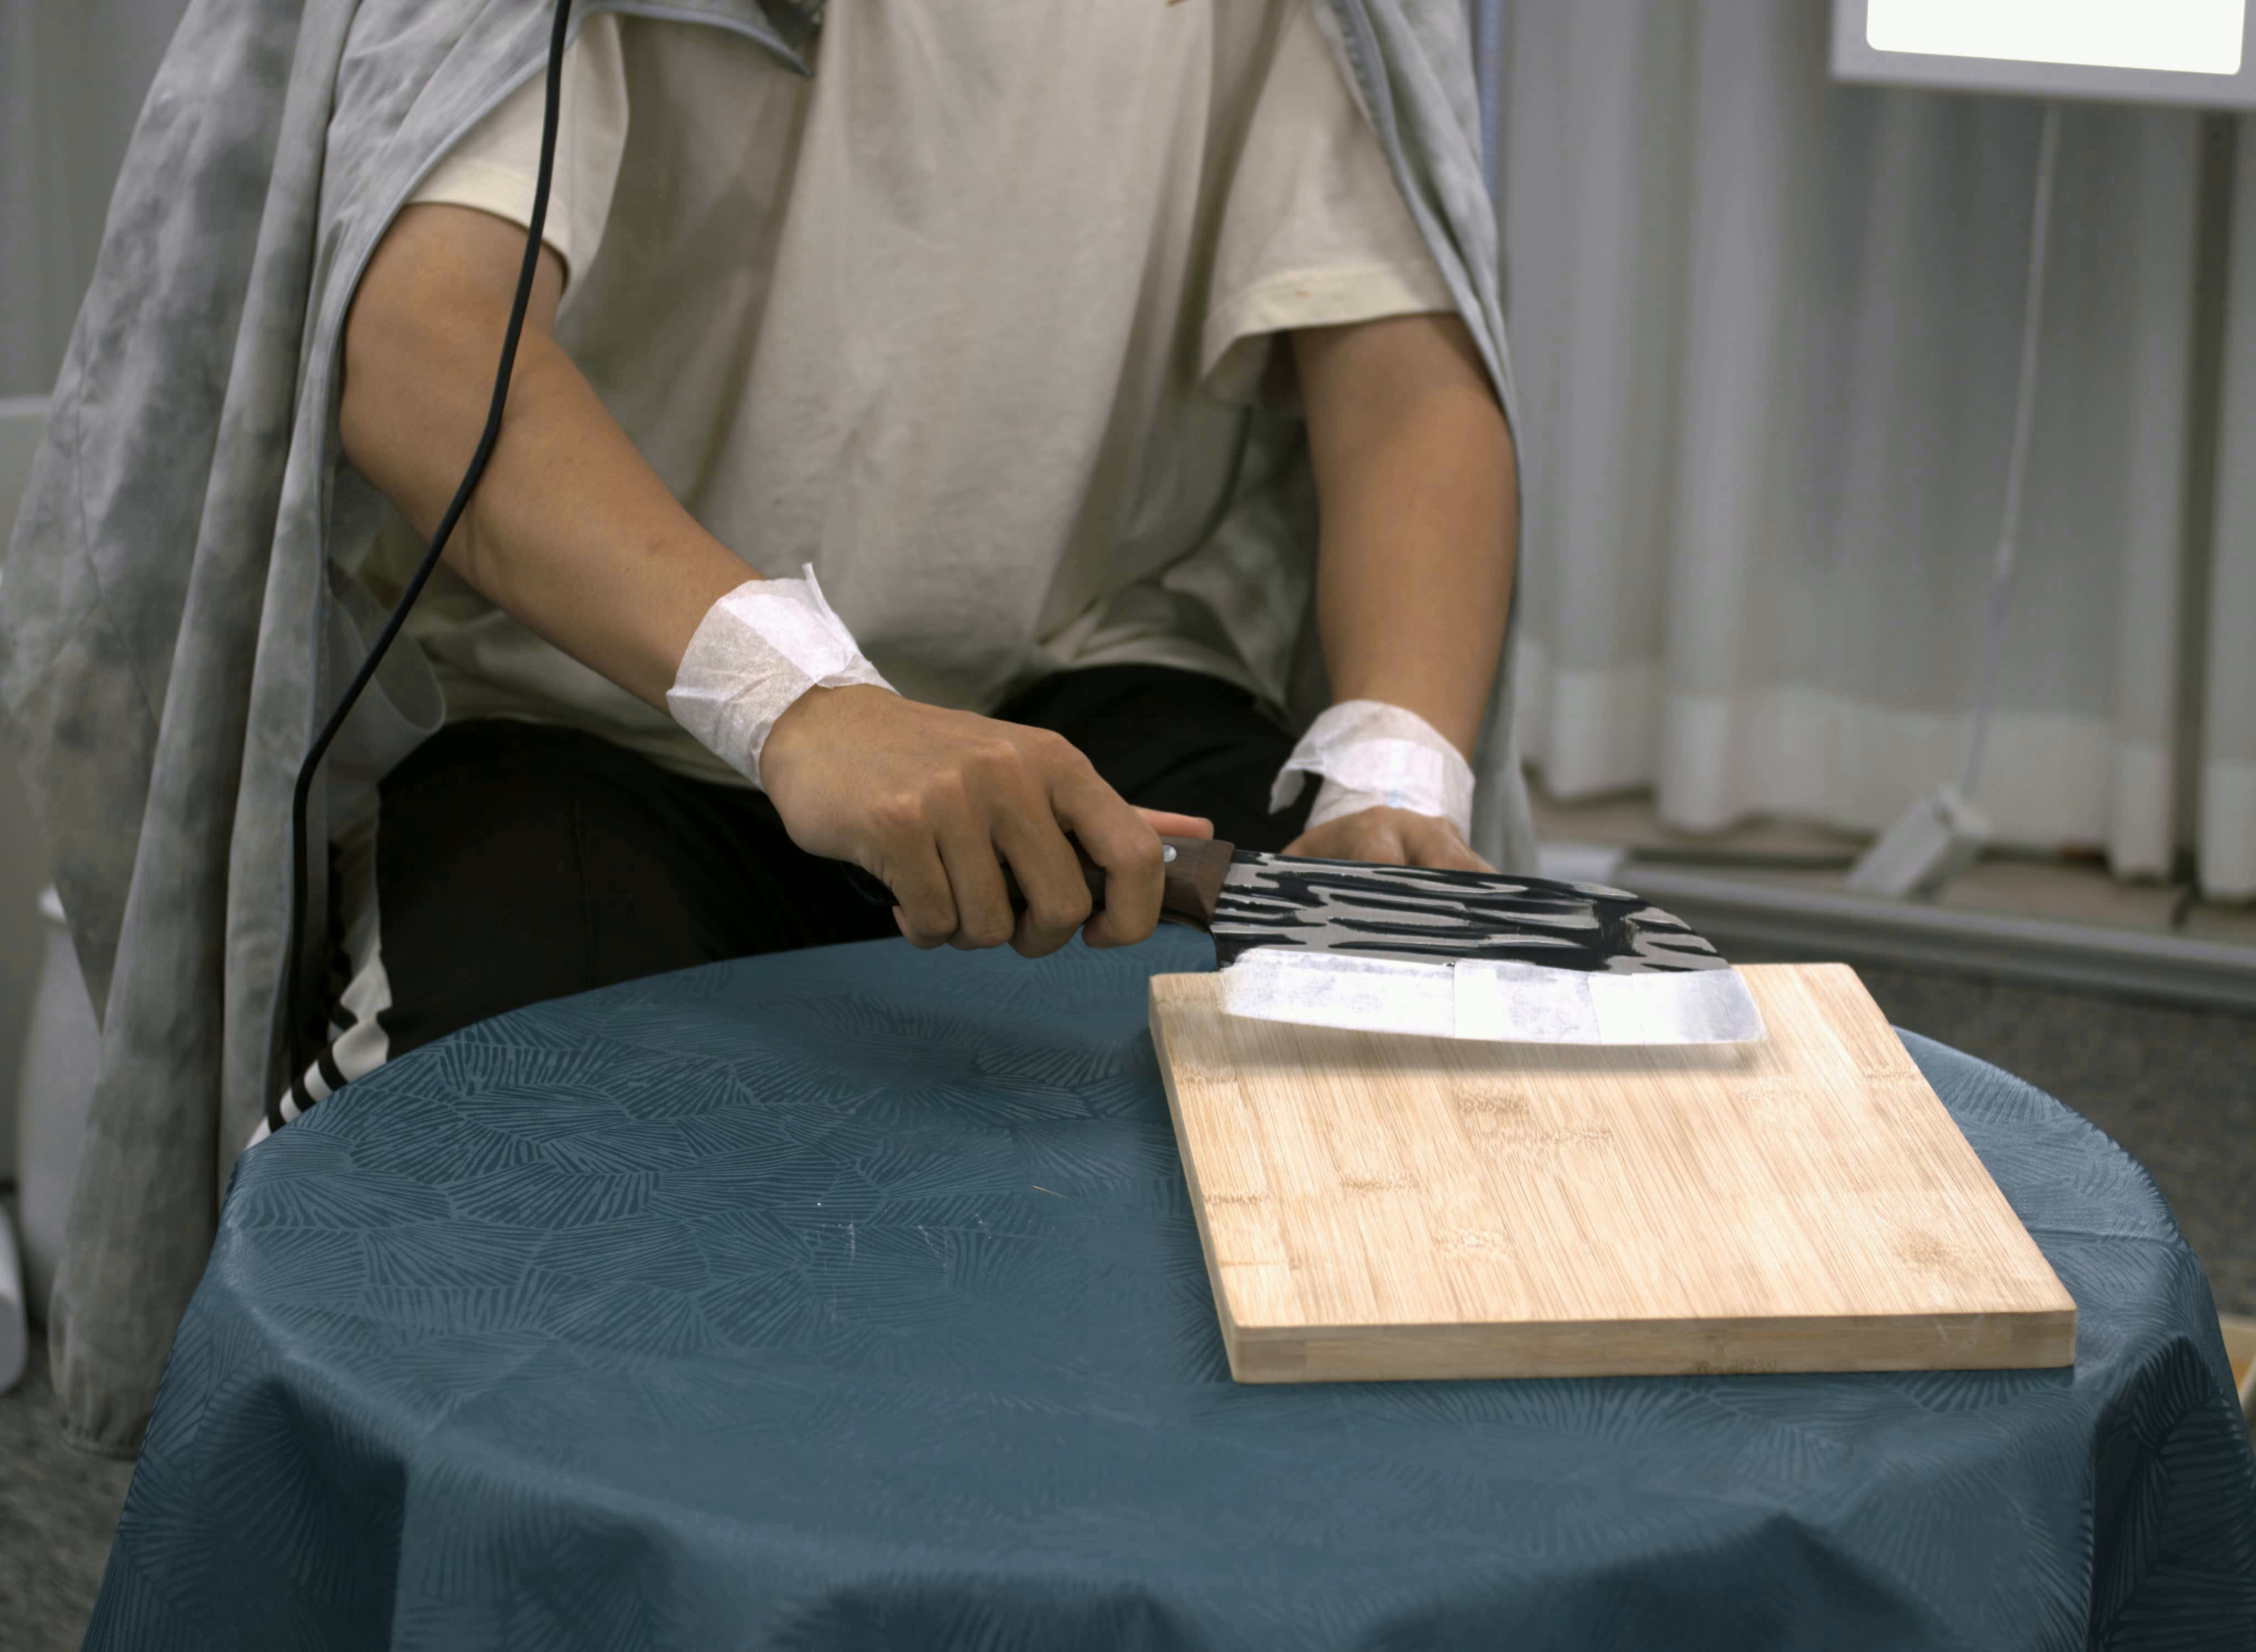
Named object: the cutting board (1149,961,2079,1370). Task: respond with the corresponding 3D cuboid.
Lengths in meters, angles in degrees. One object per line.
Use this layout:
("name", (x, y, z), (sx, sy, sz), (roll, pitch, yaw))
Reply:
("cutting board", (0.138, 0.101, 1.643), (0.250, 0.024, 0.346), (-1, 15, -5))

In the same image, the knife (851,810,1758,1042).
("knife", (0.056, 0.035, 1.703), (0.298, 0.024, 0.067), (6, 52, 0))
